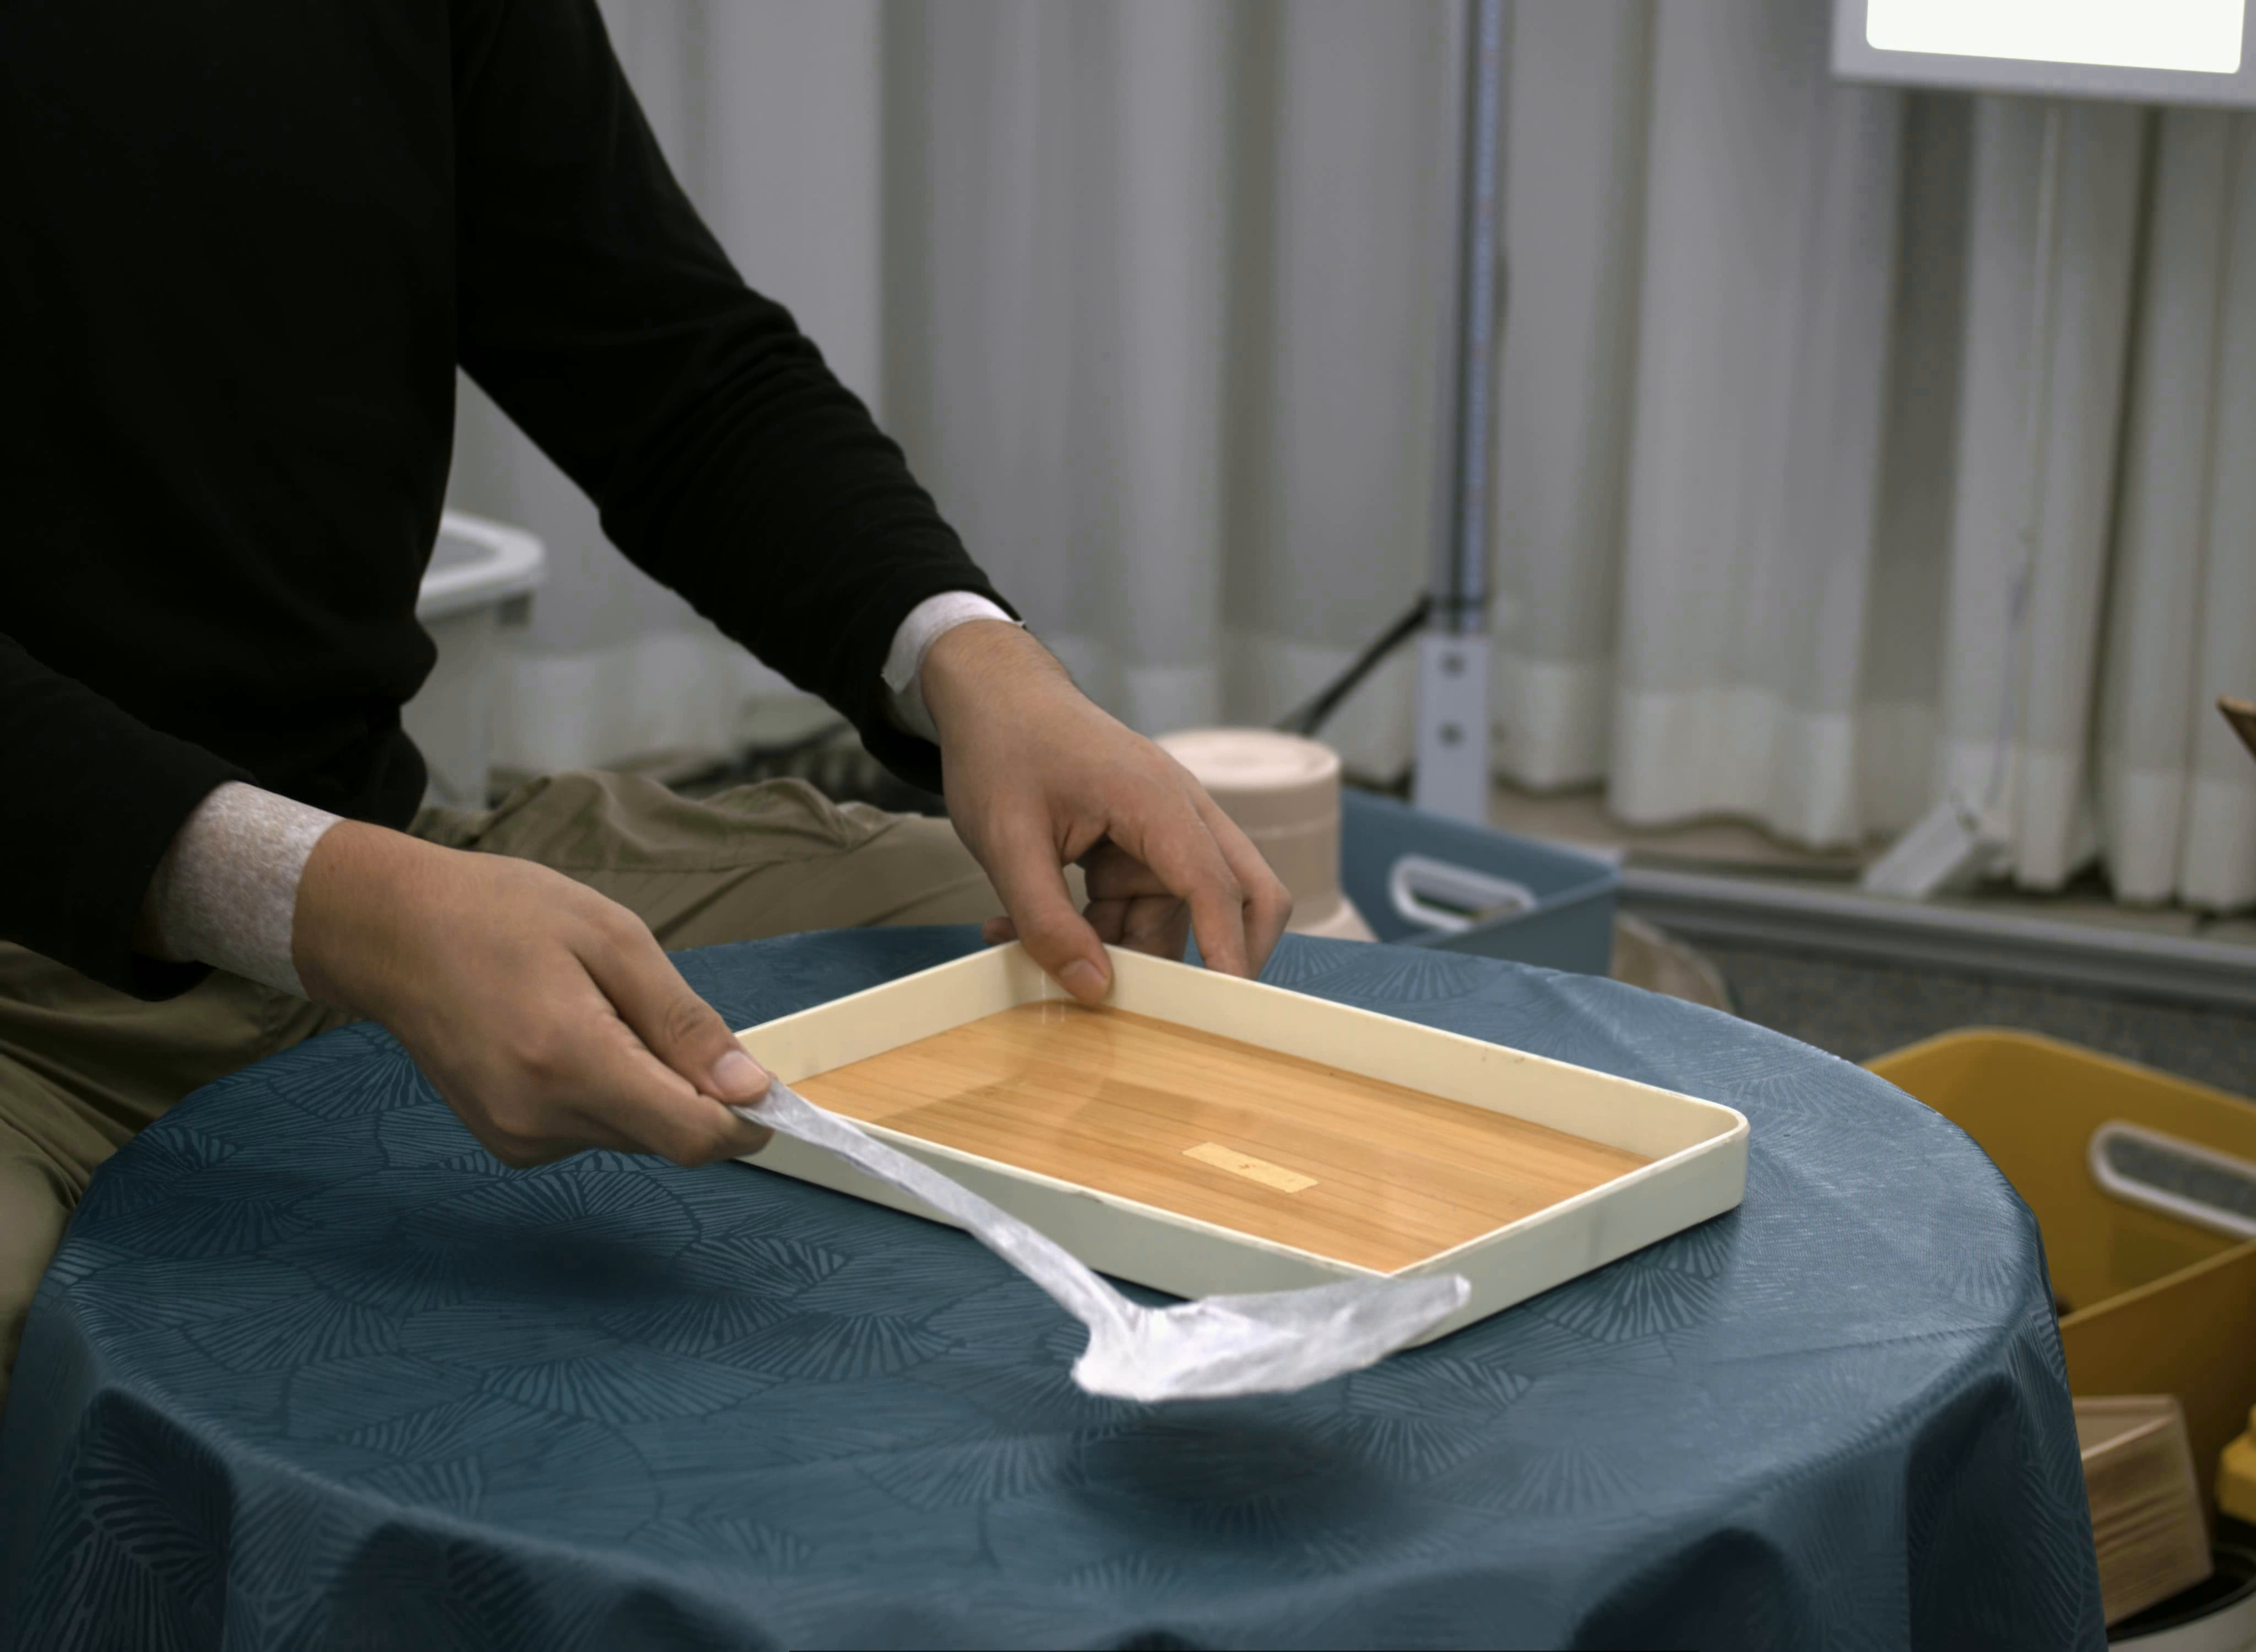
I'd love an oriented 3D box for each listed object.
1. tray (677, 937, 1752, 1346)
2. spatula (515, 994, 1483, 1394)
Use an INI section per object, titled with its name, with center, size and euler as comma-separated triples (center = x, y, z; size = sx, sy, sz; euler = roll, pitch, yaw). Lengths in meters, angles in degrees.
[tray]
center = 0.024, 0.093, 1.637
size = 0.296, 0.027, 0.192
euler = 14, 20, 39
[spatula]
center = -0.059, 0.094, 1.479
size = 0.360, 0.045, 0.099
euler = 23, 32, 38
